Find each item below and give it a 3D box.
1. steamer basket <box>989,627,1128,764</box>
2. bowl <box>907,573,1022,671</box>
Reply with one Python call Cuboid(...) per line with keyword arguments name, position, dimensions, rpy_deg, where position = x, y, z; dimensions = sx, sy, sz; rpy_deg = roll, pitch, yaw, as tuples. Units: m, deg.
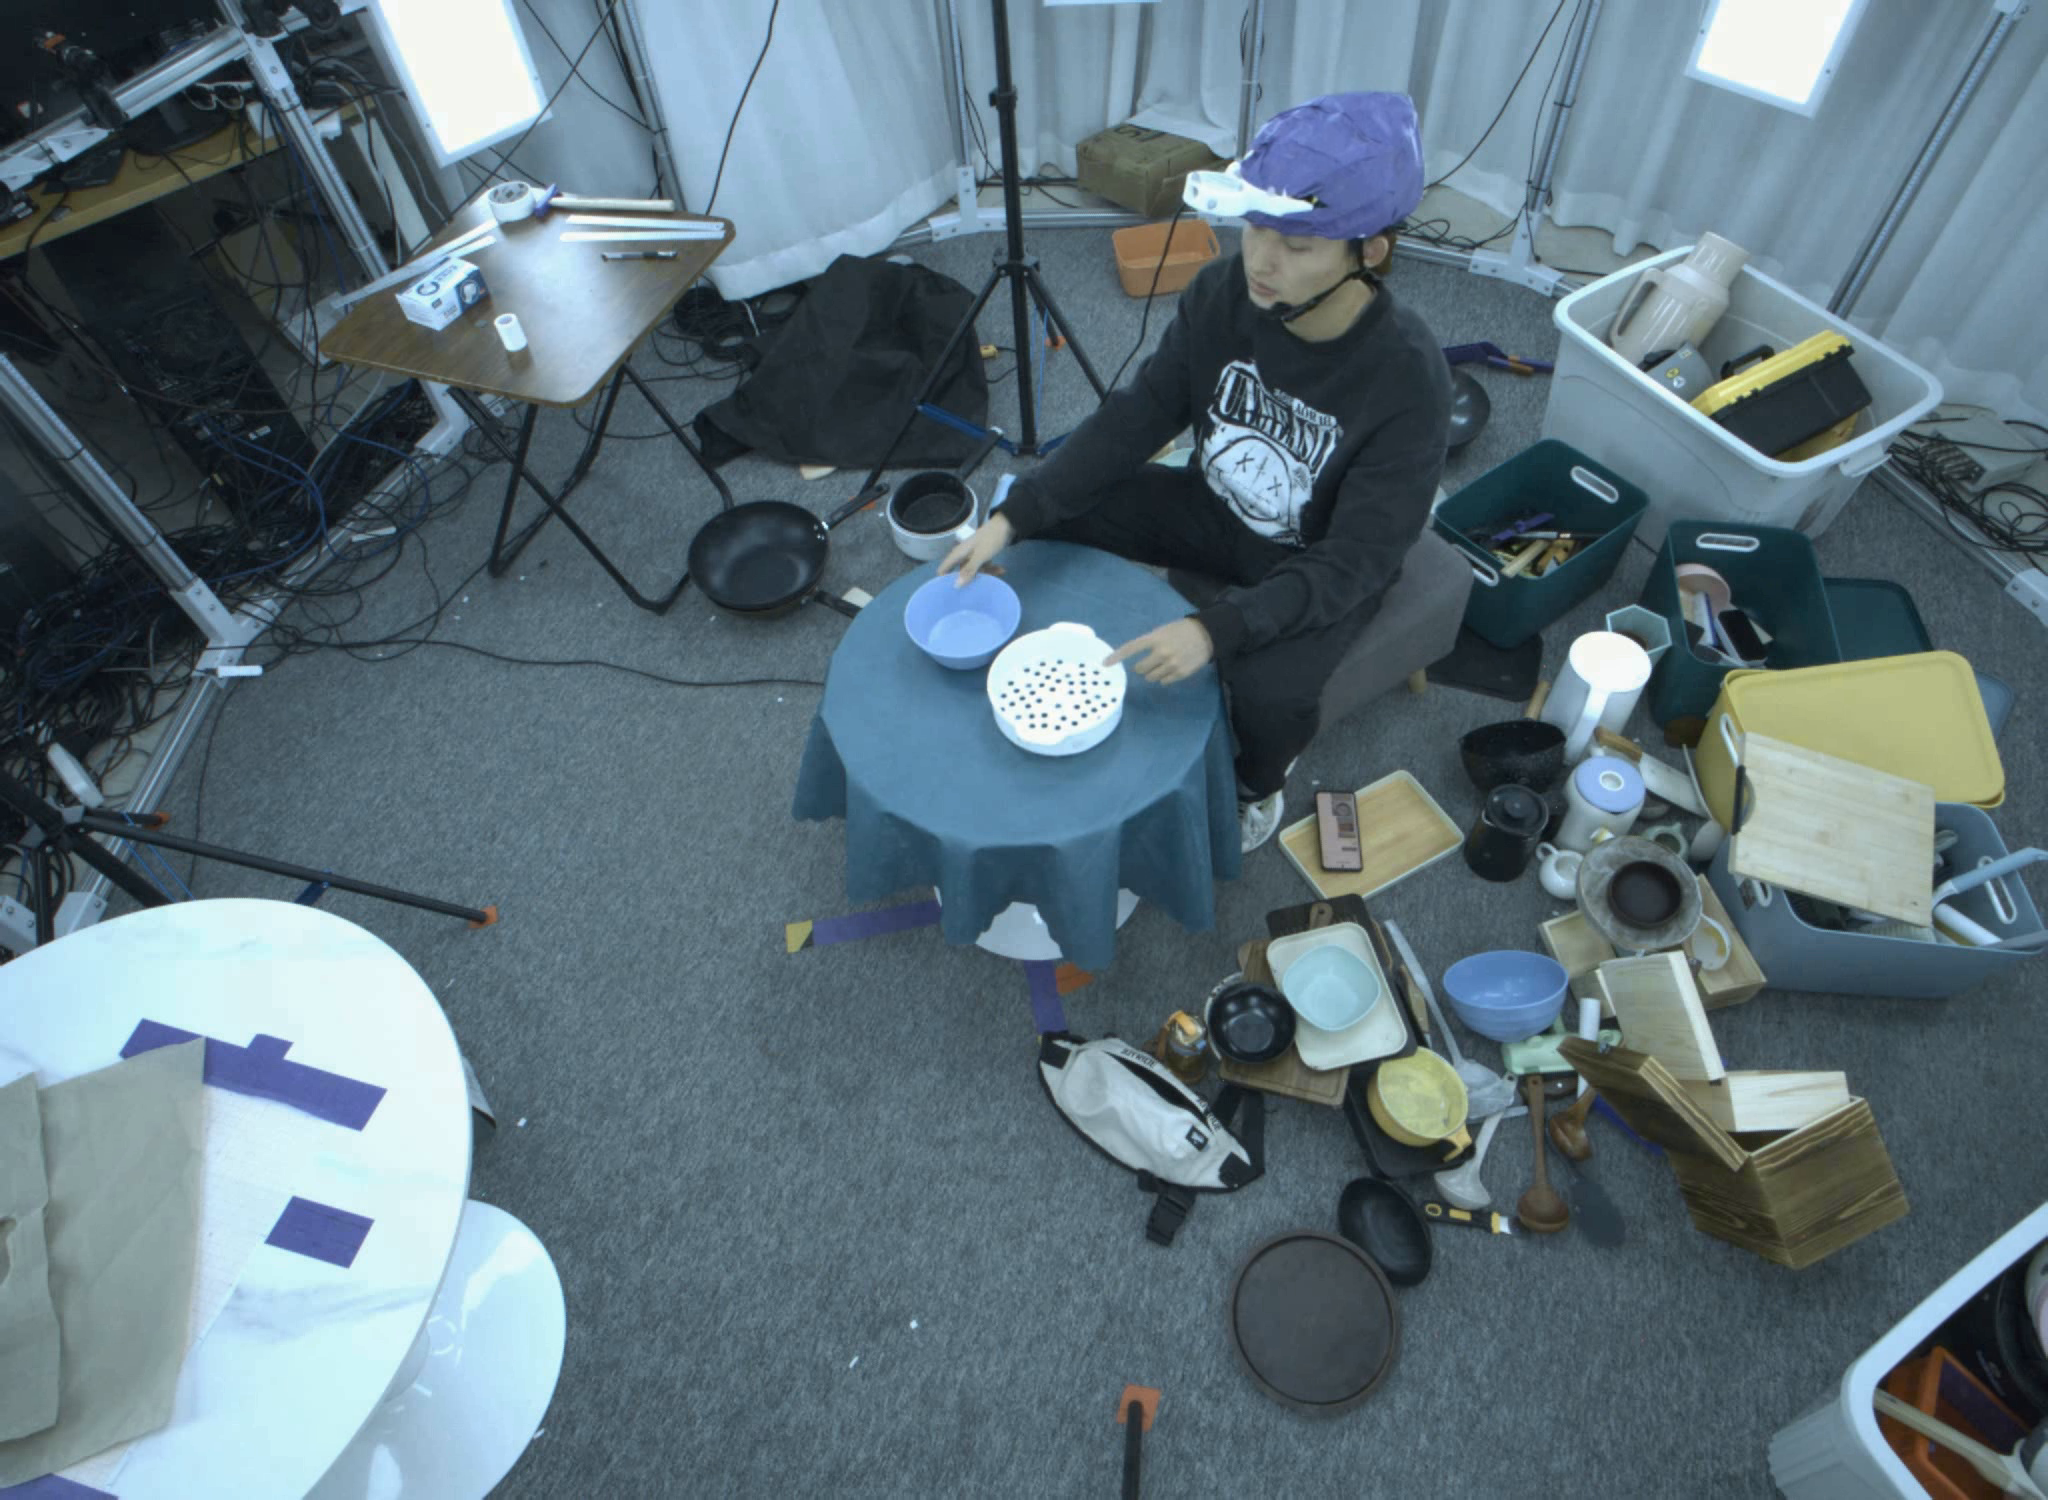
Cuboid(name="steamer basket", position=(0.052, -0.074, 1.806), dimensions=(0.200, 0.070, 0.229), rpy_deg=(10, 58, 9))
Cuboid(name="bowl", position=(-0.089, -0.186, 1.887), dimensions=(0.176, 0.071, 0.174), rpy_deg=(-1, 56, 2))
